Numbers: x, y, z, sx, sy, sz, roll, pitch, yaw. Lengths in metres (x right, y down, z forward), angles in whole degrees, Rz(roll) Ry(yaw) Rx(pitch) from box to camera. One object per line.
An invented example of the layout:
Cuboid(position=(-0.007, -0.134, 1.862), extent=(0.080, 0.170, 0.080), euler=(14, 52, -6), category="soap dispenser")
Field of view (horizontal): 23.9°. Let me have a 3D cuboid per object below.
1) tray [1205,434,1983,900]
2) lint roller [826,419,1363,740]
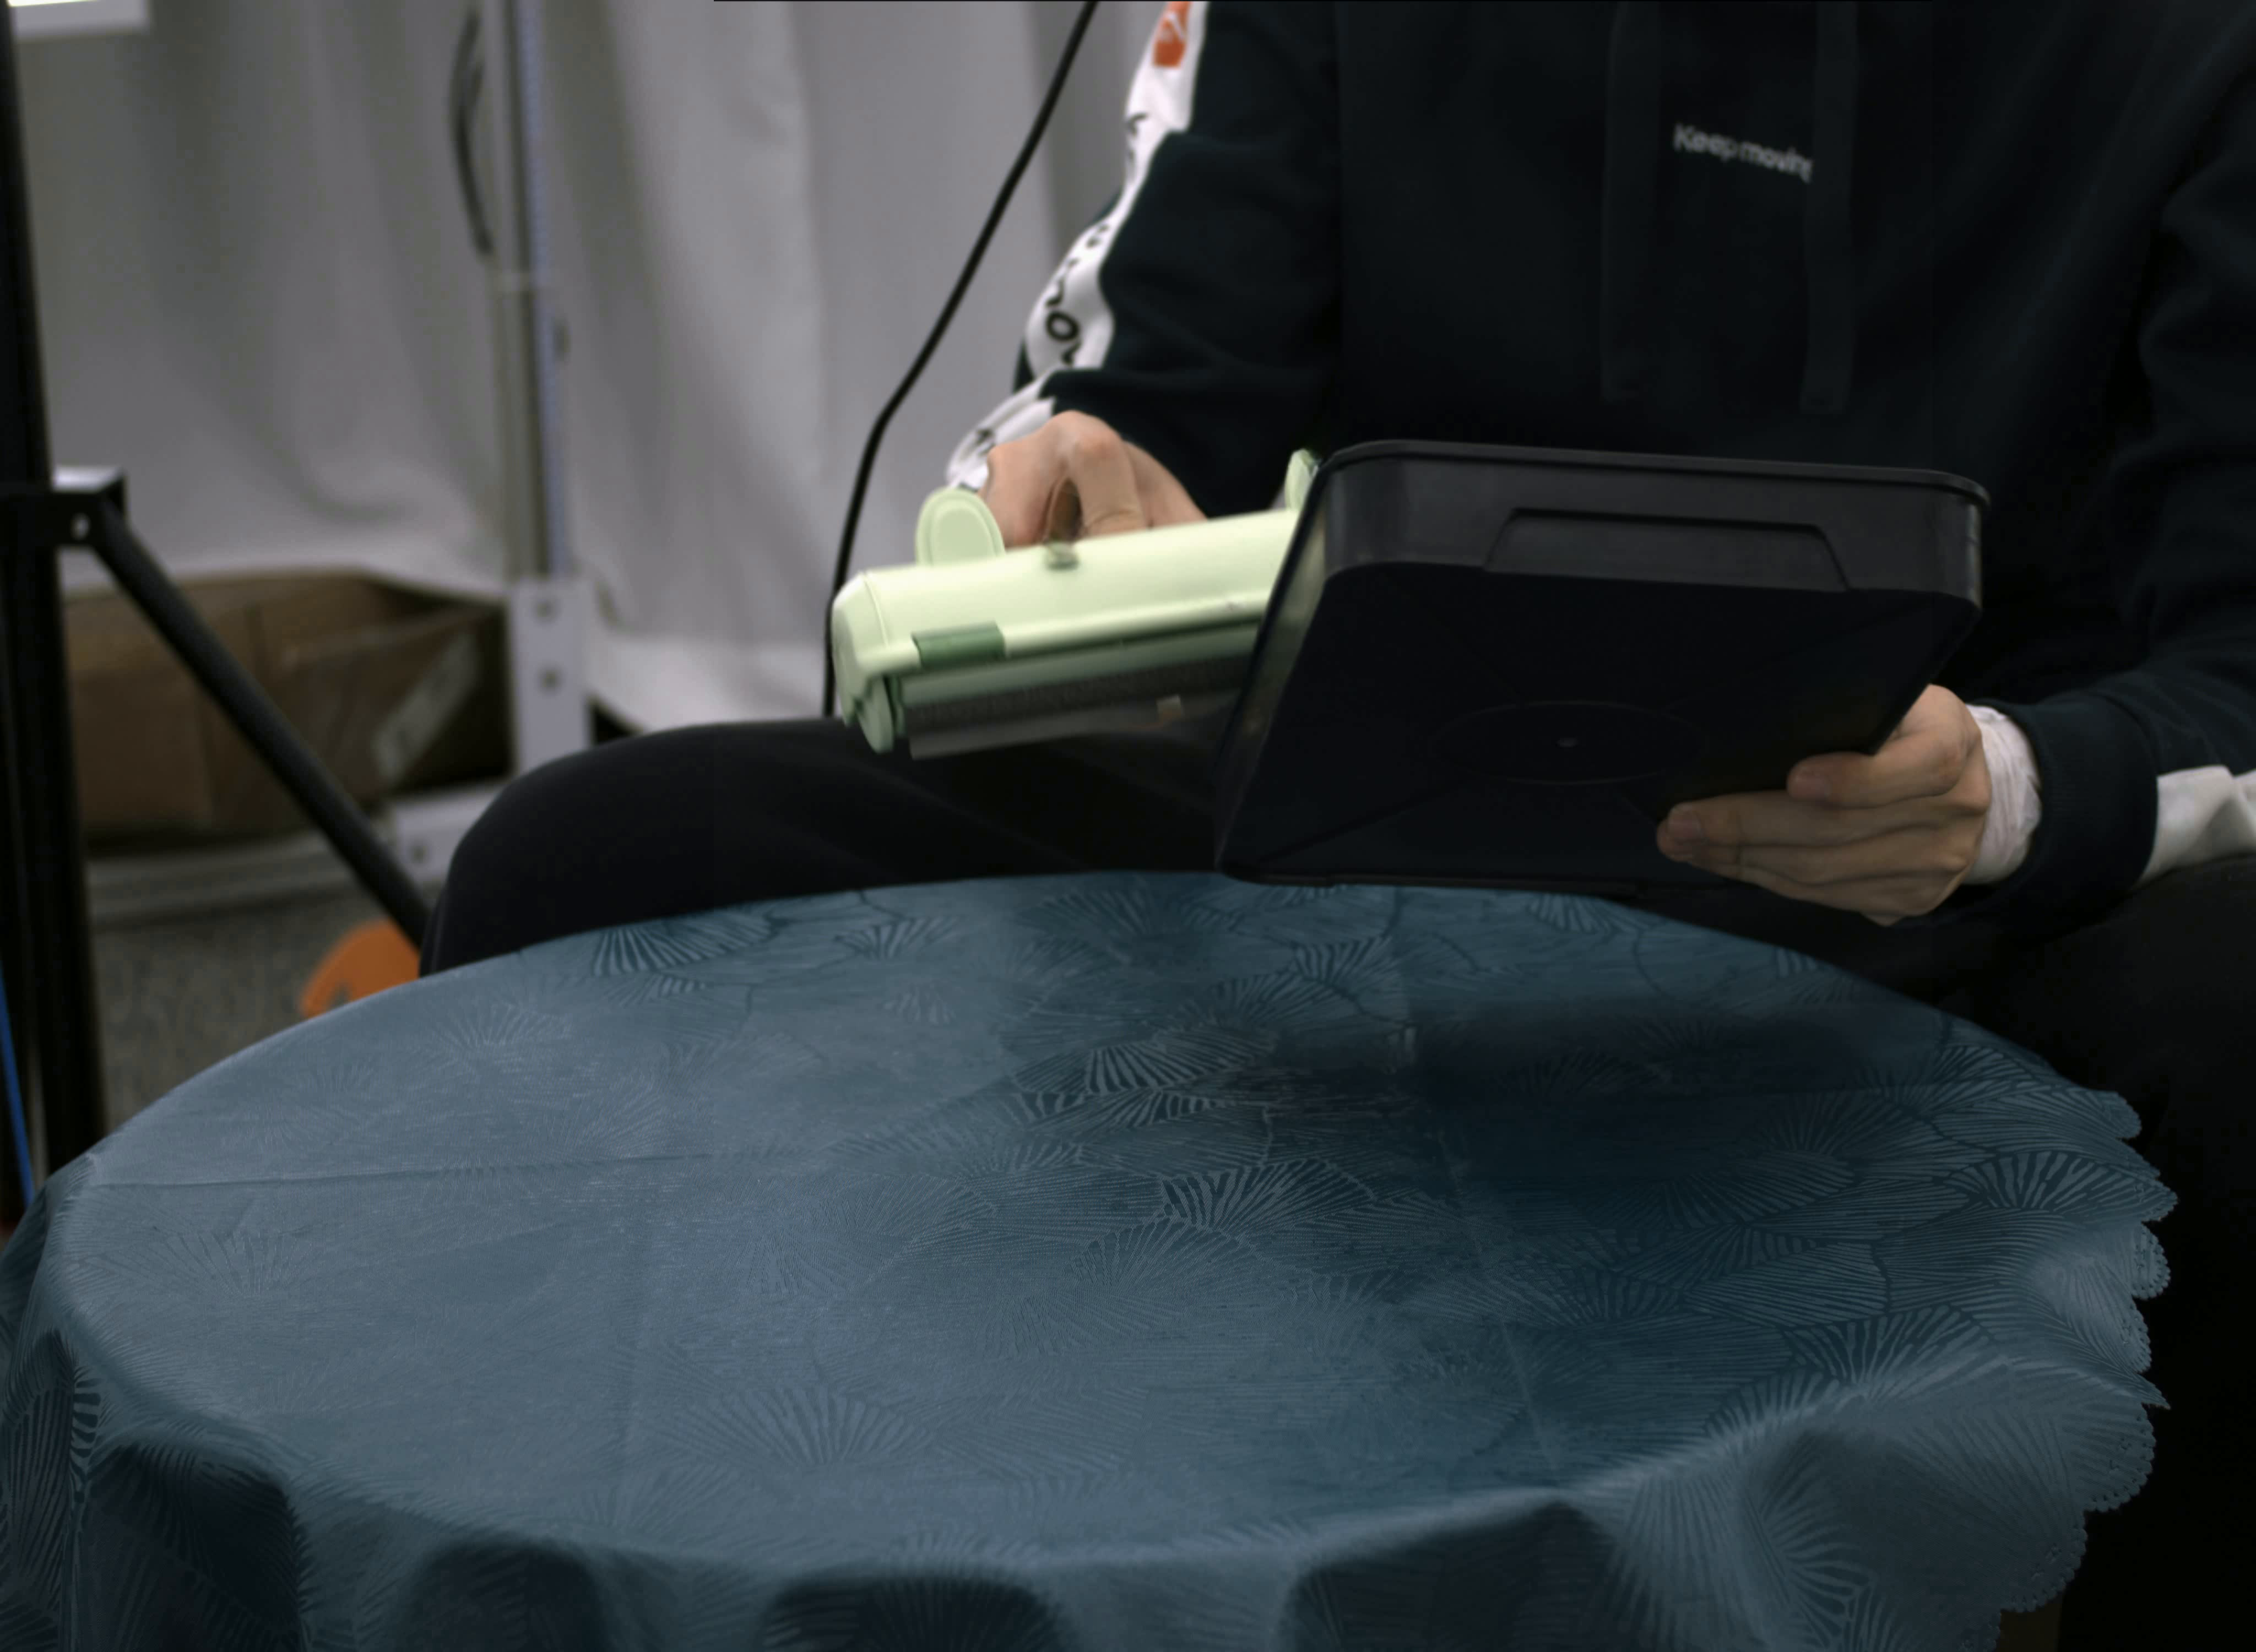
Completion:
Cuboid(position=(0.127, -0.039, 1.545), extent=(0.183, 0.037, 0.317), euler=(3, -17, -3), category="tray")
Cuboid(position=(-0.005, -0.086, 1.651), extent=(0.196, 0.082, 0.185), euler=(-9, 17, -9), category="lint roller")
